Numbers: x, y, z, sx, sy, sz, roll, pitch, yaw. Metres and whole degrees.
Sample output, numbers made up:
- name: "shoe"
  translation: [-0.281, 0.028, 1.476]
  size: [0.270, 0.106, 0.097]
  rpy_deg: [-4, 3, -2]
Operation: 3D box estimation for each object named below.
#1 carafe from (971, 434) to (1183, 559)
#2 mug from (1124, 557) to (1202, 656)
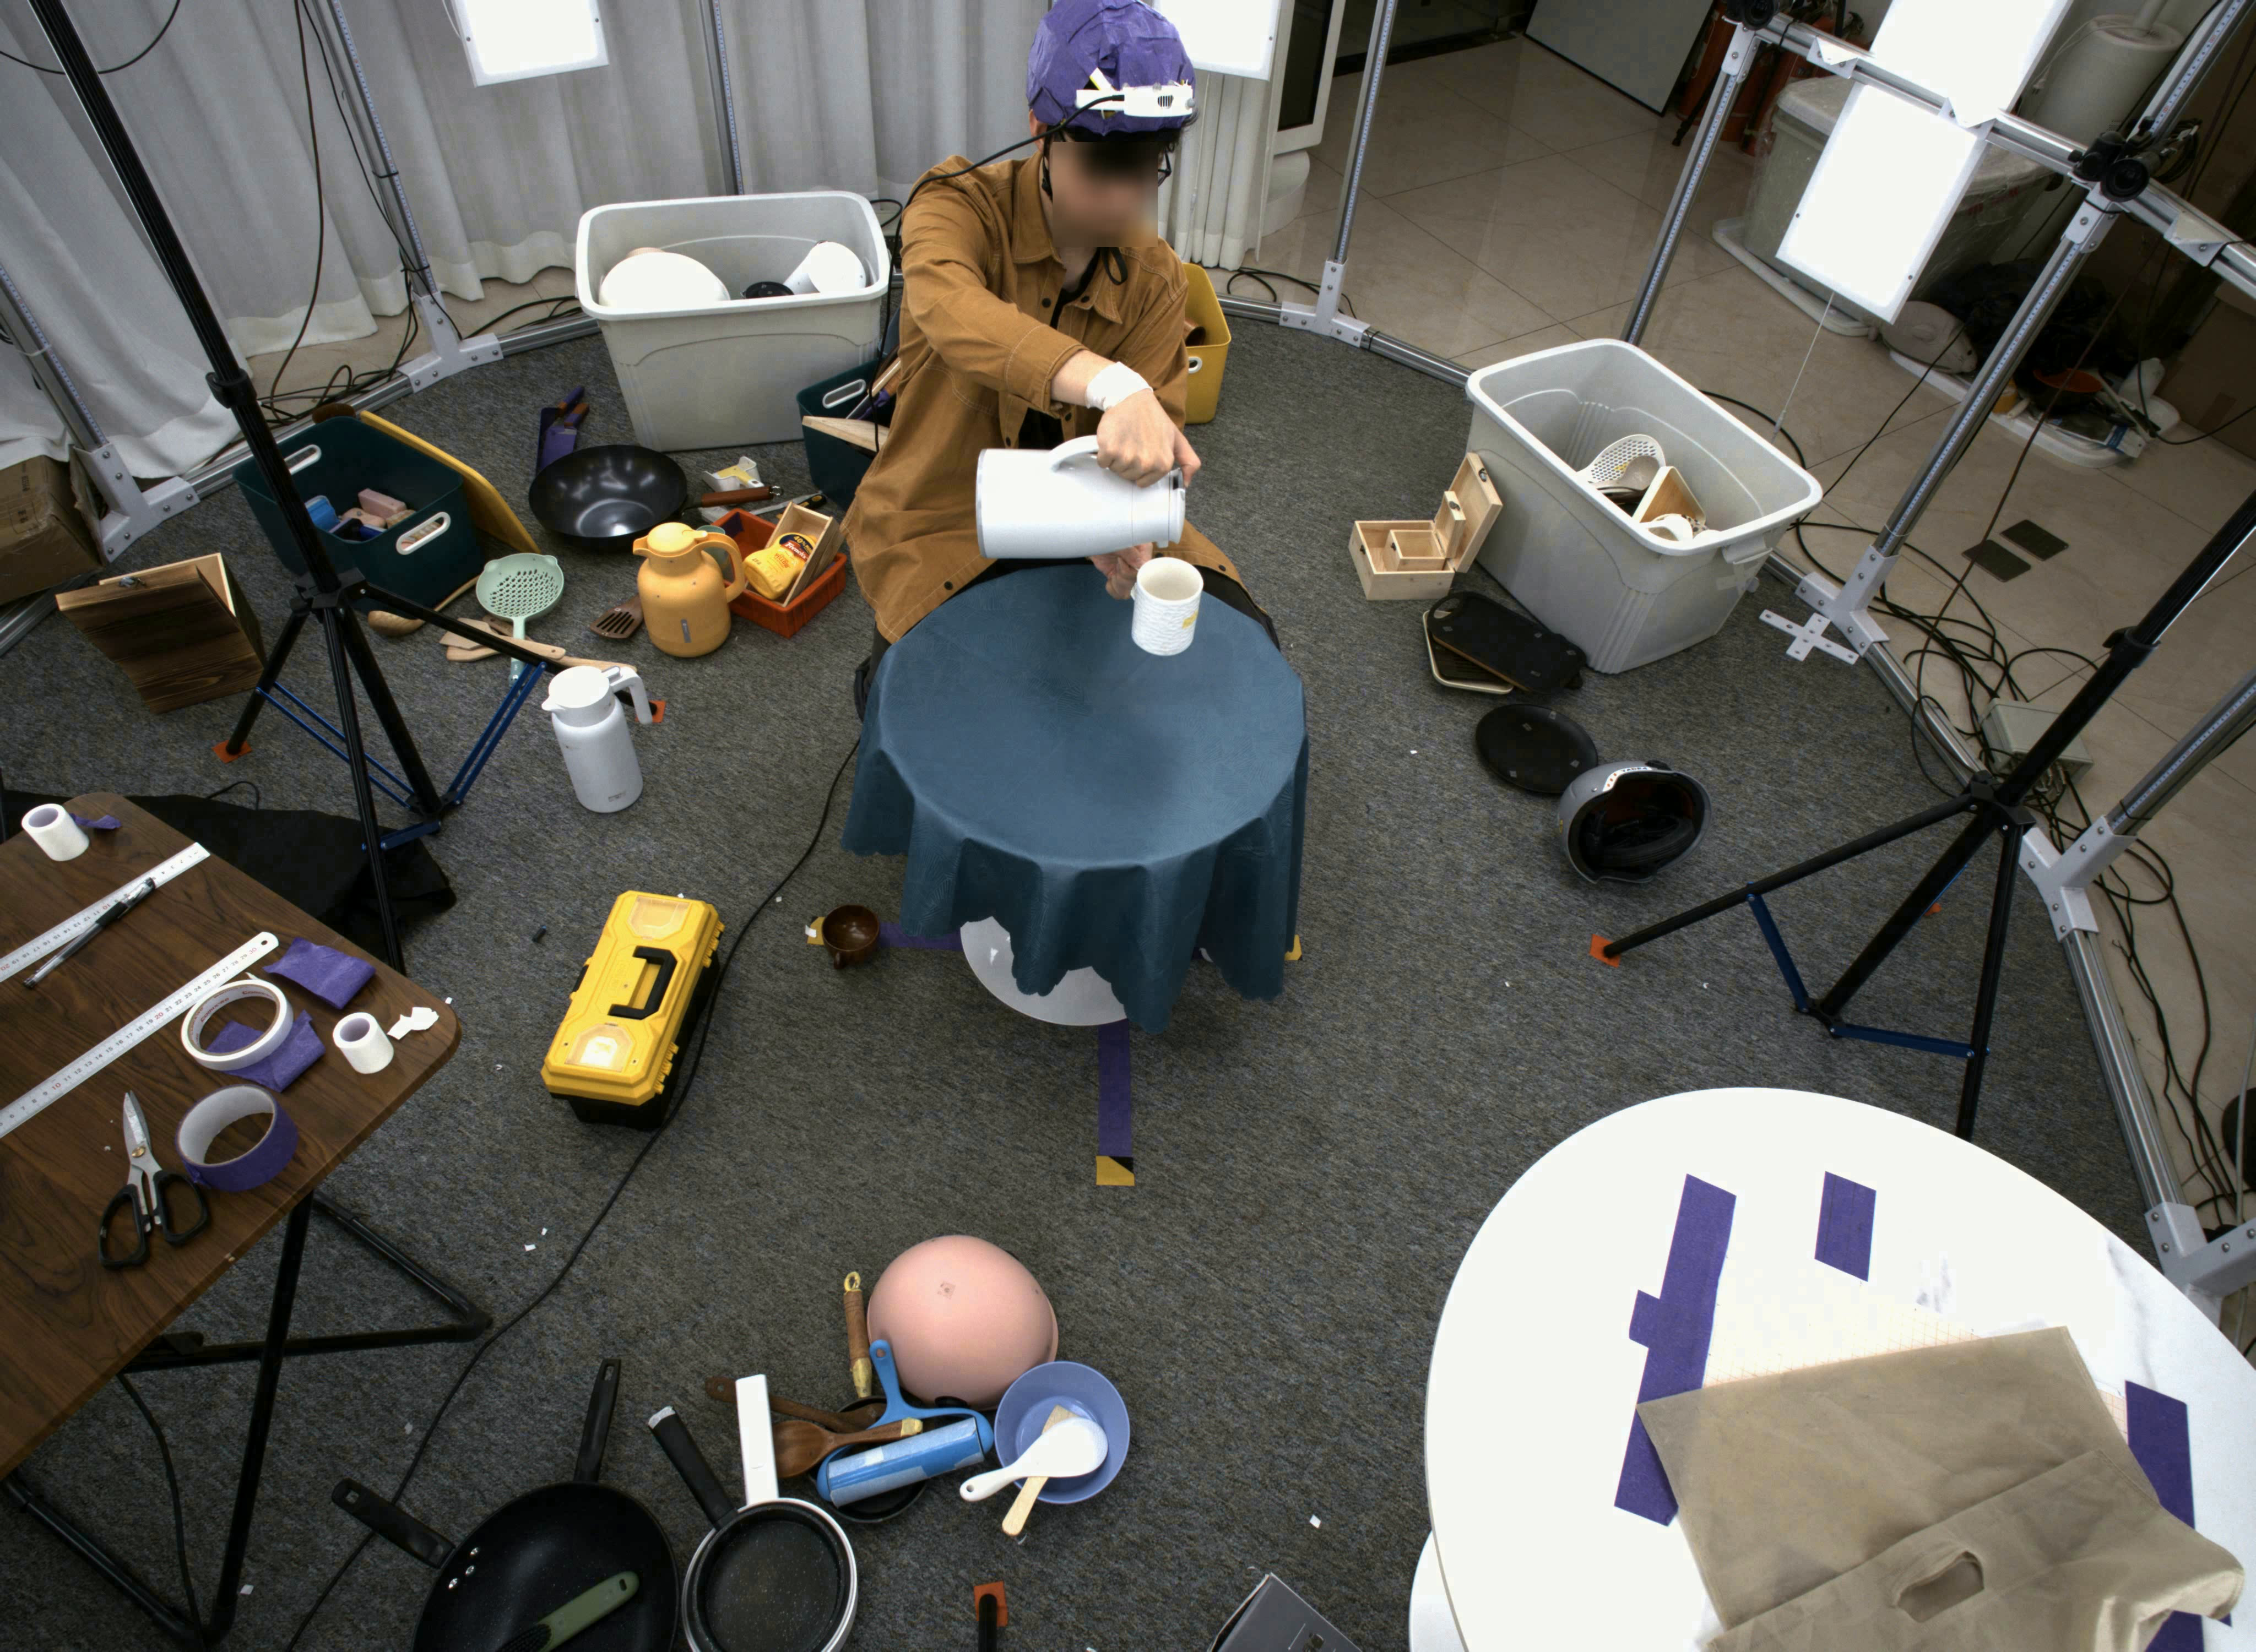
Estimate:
- name: "carafe"
  translation: [-0.057, -0.398, 1.546]
  size: [0.248, 0.164, 0.135]
  rpy_deg: [2, 59, 3]
- name: "mug"
  translation: [0.038, -0.296, 1.691]
  size: [0.085, 0.099, 0.120]
  rpy_deg: [-33, 62, -27]
